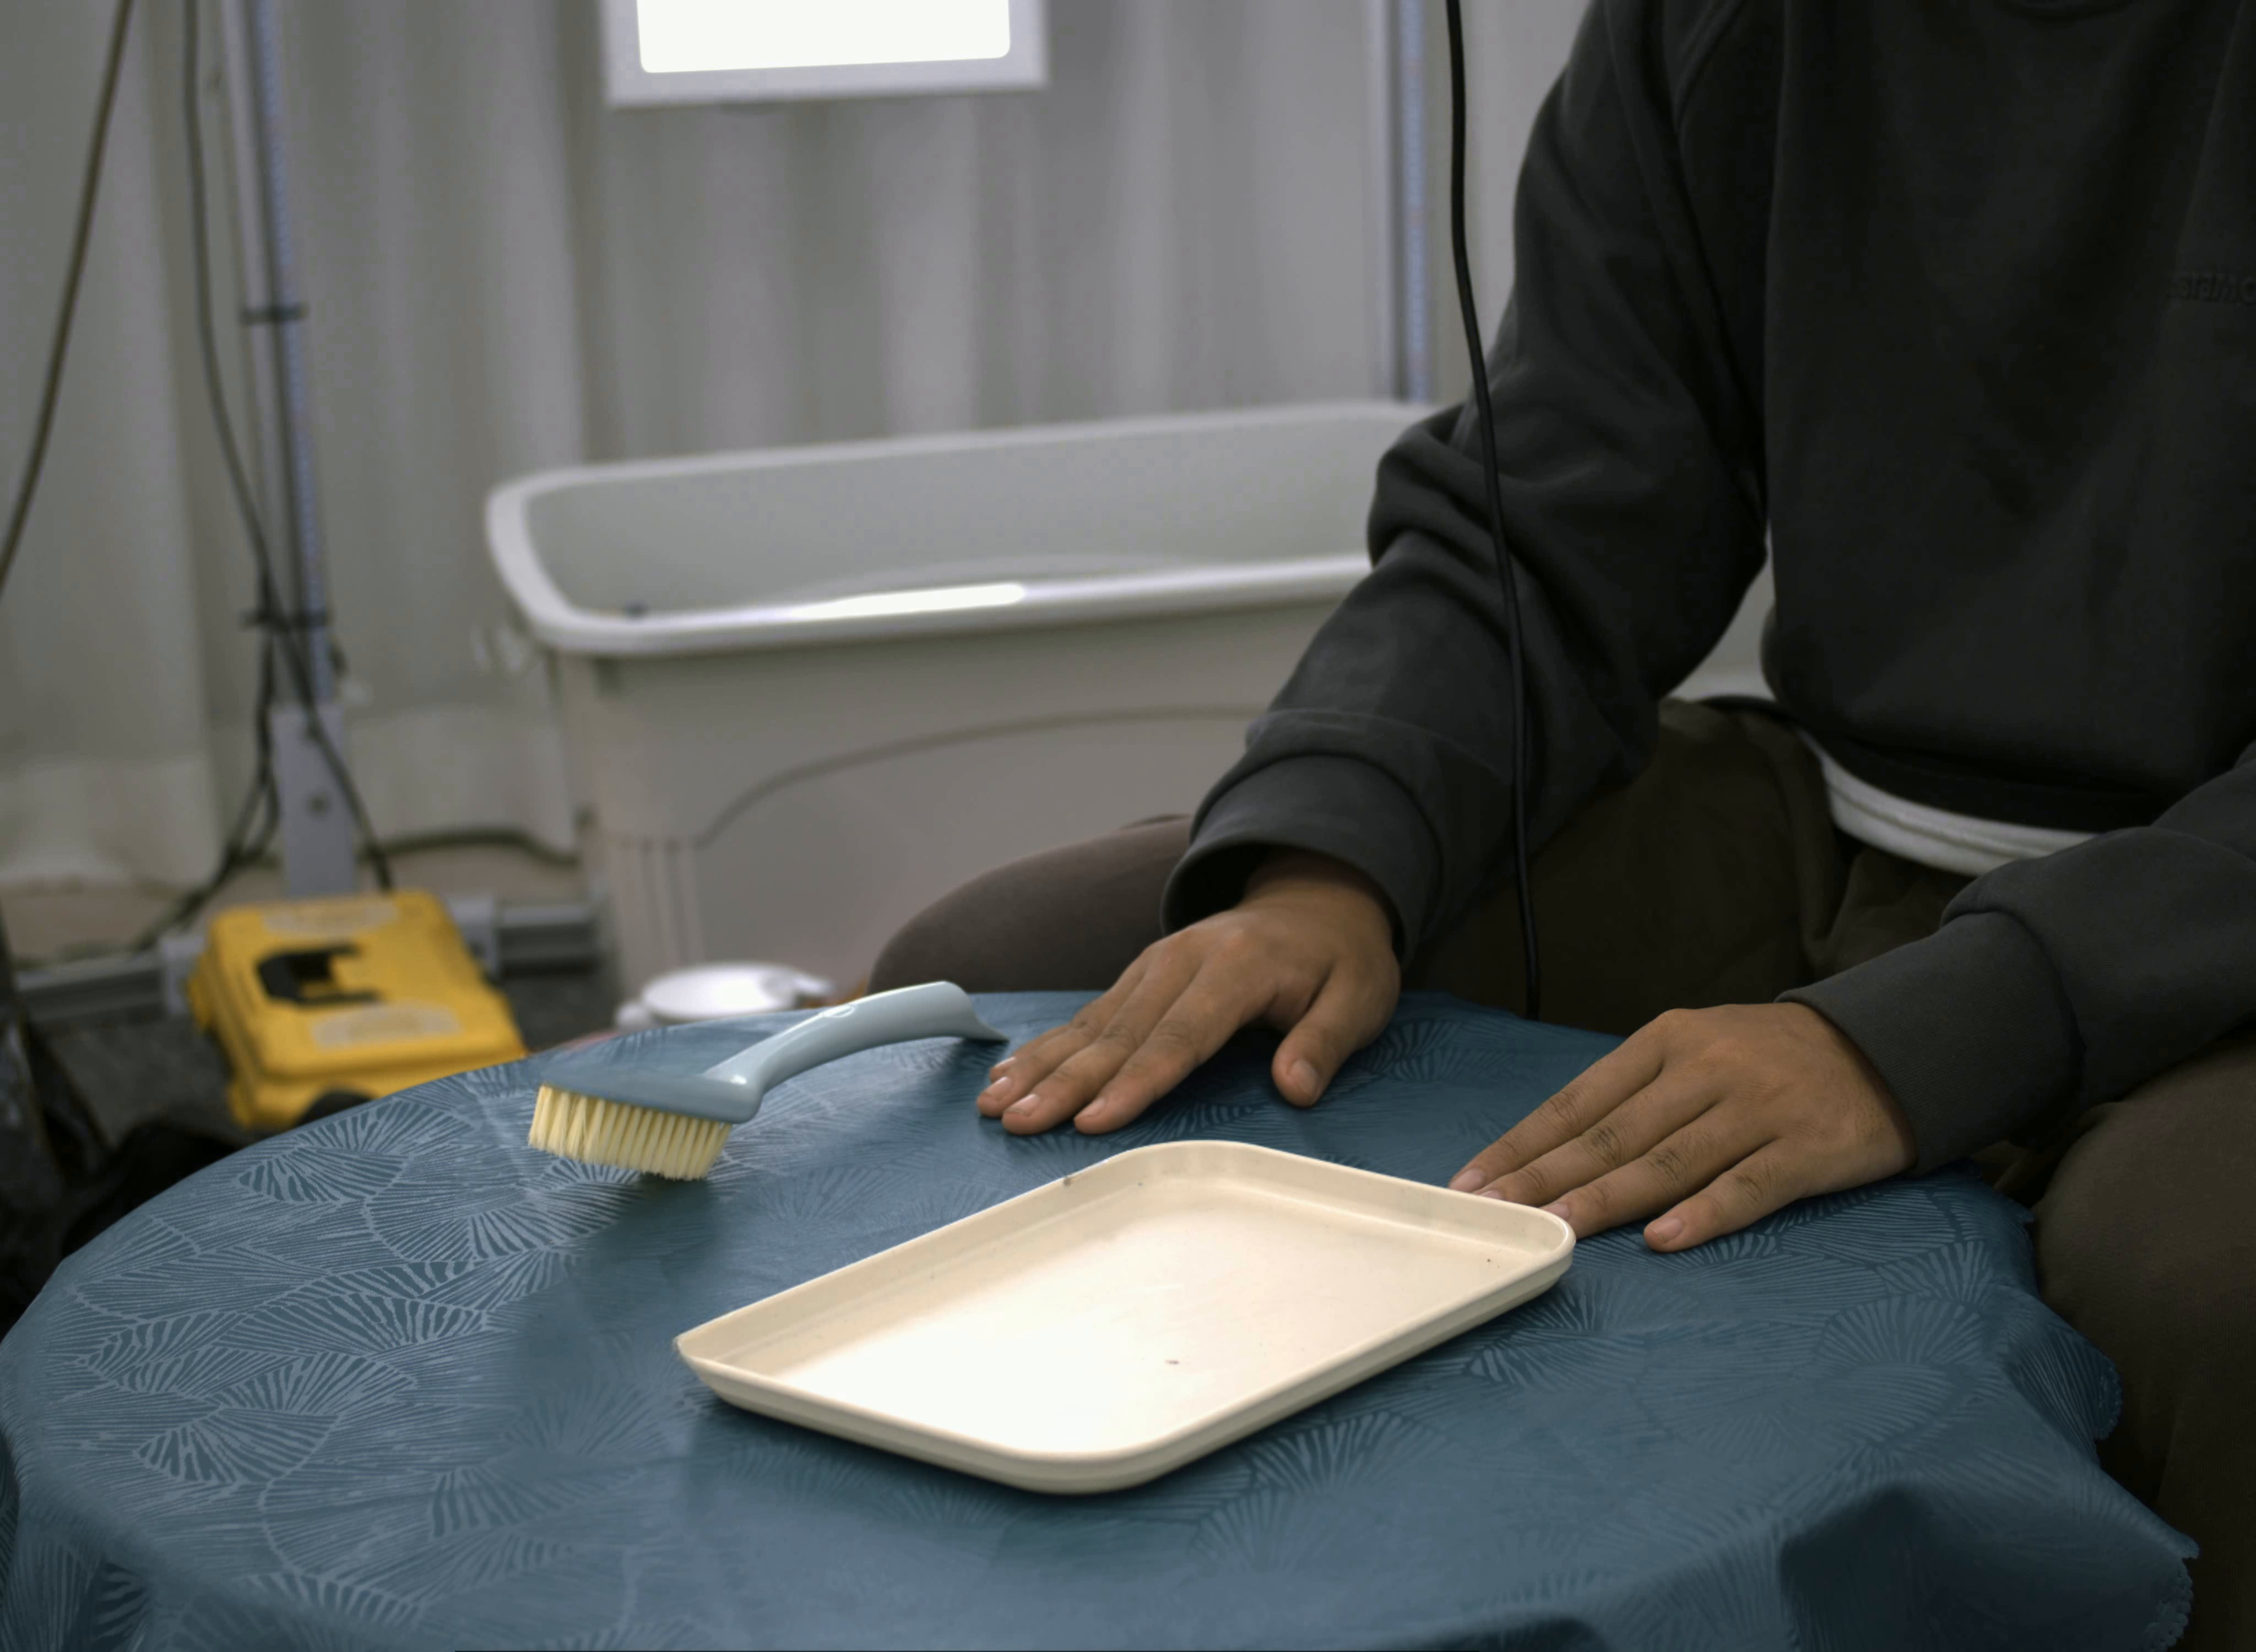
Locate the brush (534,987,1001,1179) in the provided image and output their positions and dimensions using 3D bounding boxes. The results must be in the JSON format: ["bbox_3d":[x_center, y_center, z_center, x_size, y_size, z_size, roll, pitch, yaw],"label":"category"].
[{"bbox_3d":[-0.115,0.084,1.792,0.038,0.049,0.228,14,13,32],"label":"brush"}]

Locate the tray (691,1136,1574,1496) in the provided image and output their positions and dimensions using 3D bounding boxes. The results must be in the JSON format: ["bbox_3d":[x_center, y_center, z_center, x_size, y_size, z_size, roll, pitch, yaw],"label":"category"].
[{"bbox_3d":[0.004,0.140,1.585,0.172,0.017,0.239,11,20,40],"label":"tray"}]
